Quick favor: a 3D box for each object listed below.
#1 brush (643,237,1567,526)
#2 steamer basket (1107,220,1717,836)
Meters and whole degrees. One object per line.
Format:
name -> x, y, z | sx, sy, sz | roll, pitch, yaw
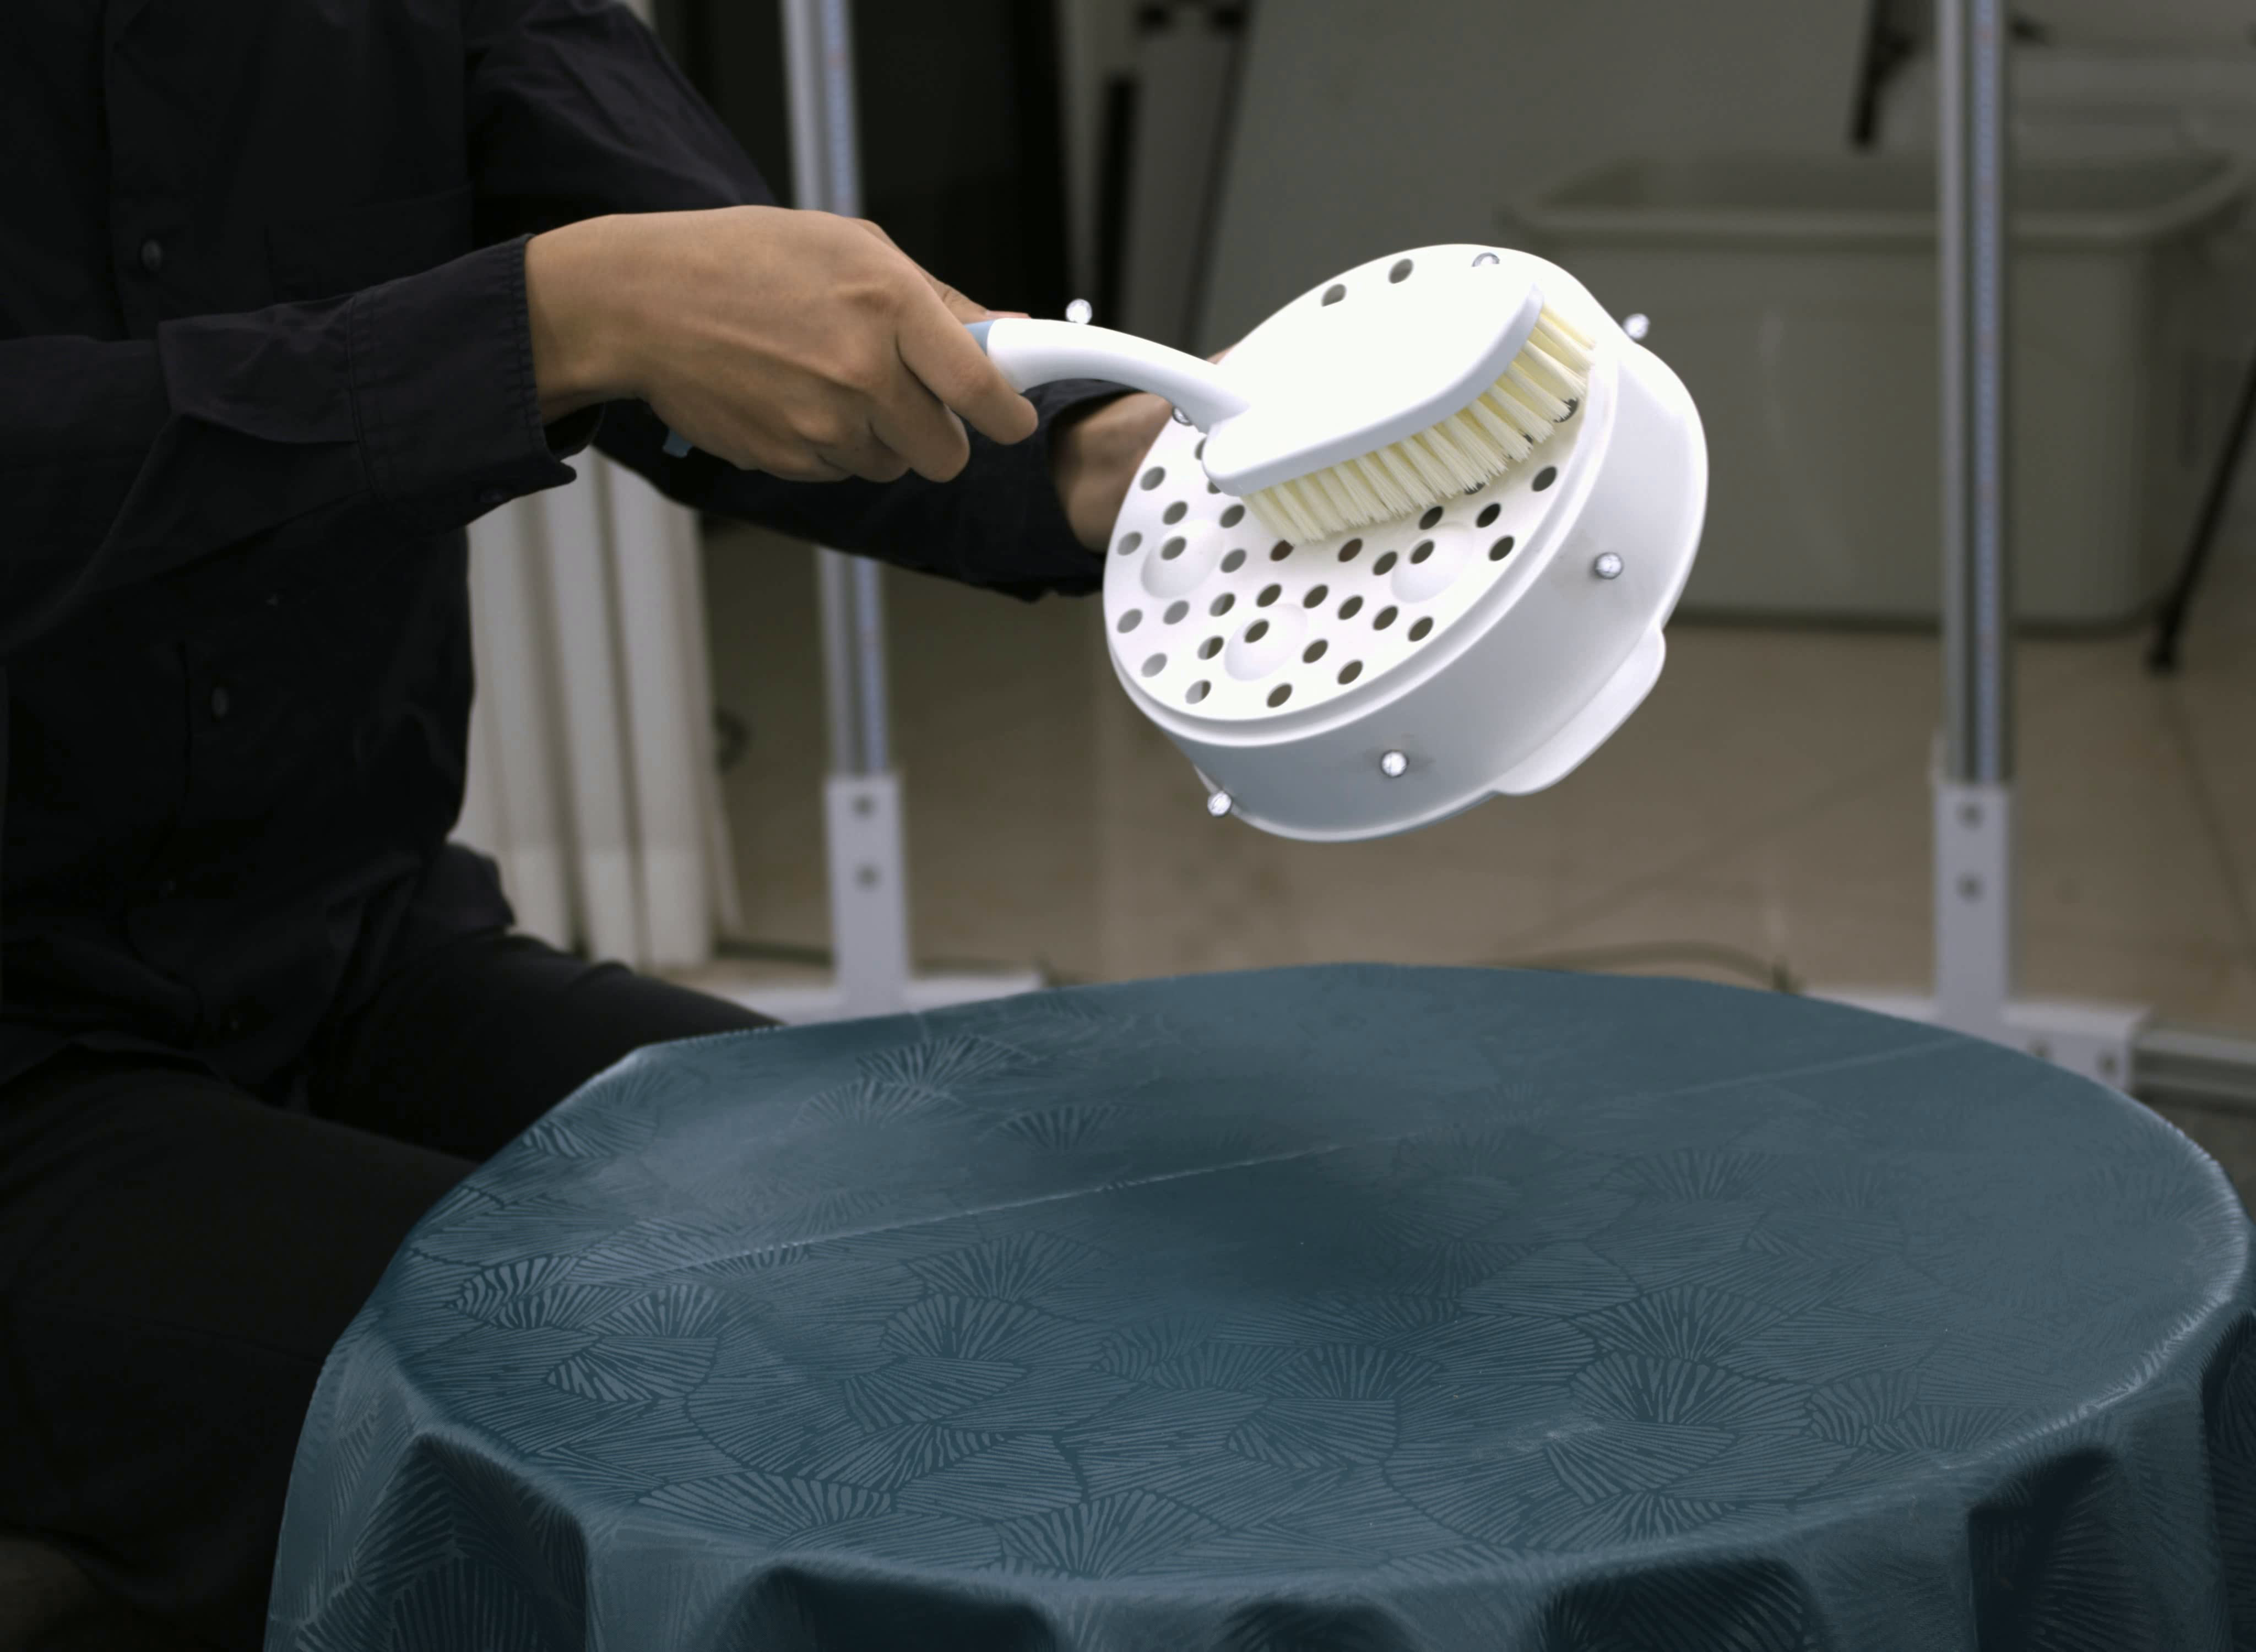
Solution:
brush -> -0.006, -0.132, 1.716 | 0.326, 0.085, 0.082 | -6, 8, 30
steamer basket -> 0.085, -0.097, 1.704 | 0.202, 0.068, 0.233 | -45, 38, 1
